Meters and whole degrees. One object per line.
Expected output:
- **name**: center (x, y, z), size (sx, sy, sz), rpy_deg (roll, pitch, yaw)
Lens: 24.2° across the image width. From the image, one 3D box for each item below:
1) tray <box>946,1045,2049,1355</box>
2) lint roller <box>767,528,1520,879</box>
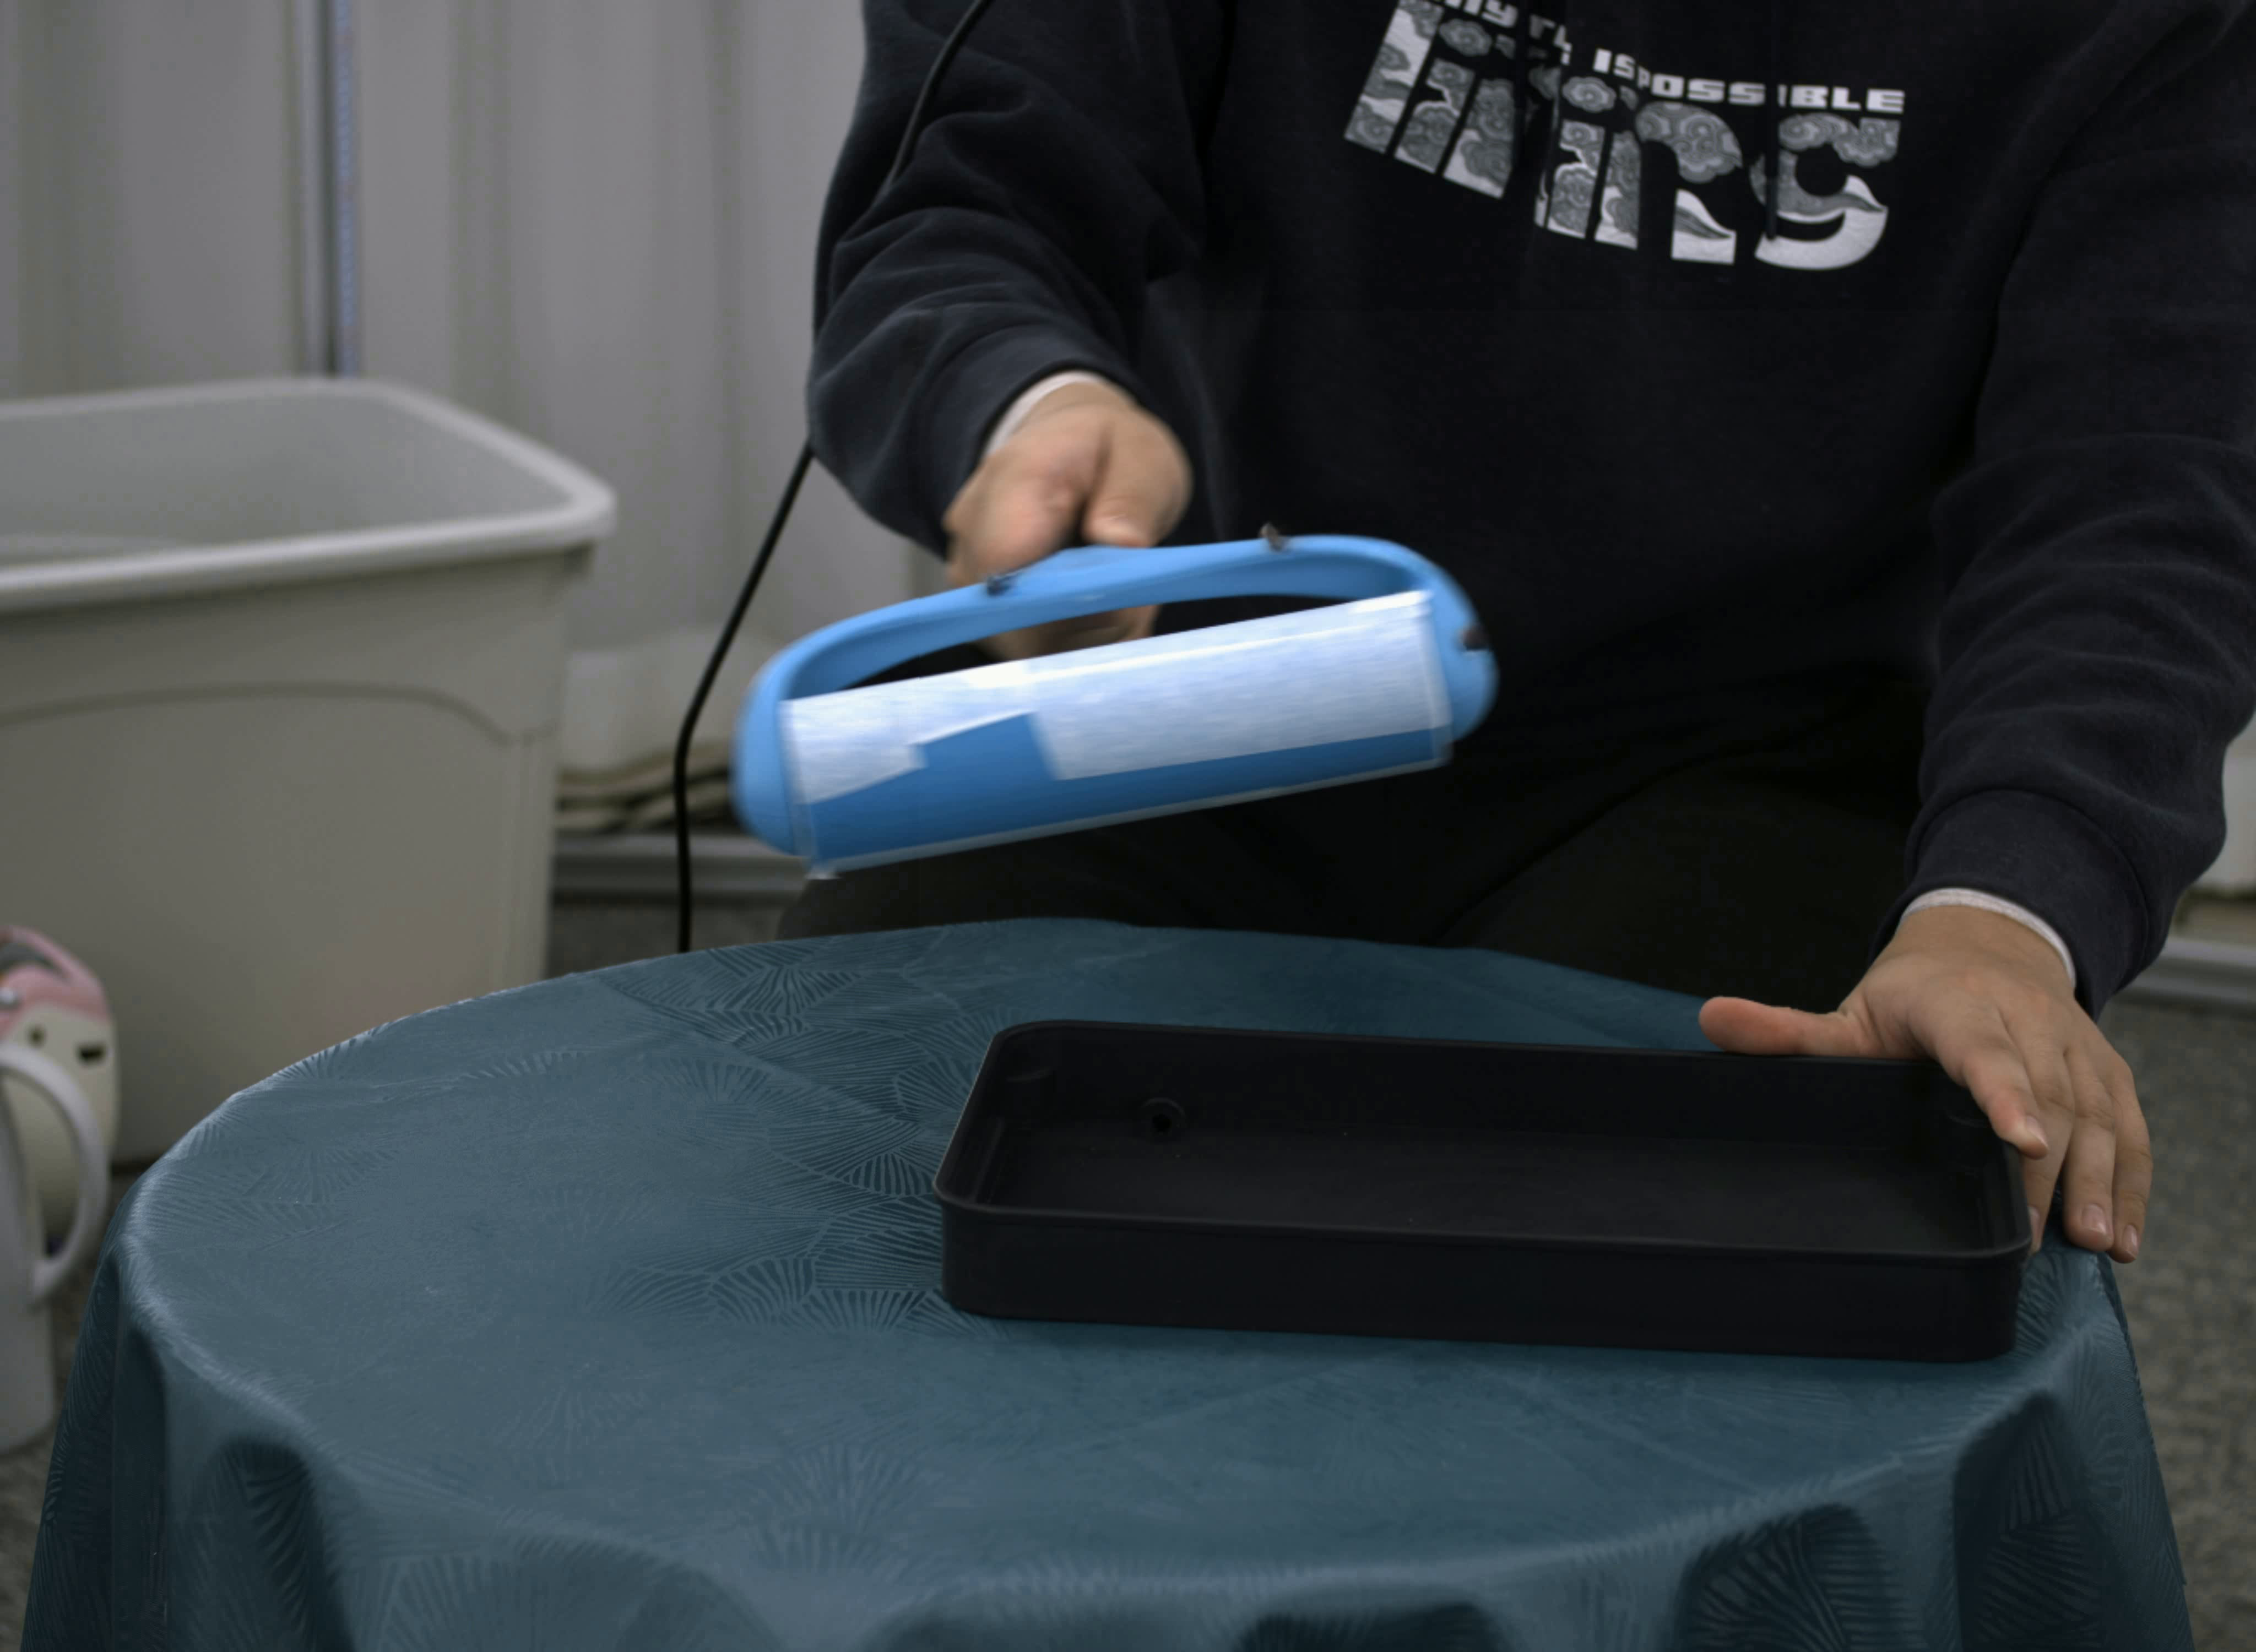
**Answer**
- **tray**: center (0.112, 0.110, 1.585), size (0.316, 0.037, 0.183), rpy_deg (0, 15, 5)
- **lint roller**: center (-0.003, -0.056, 1.627), size (0.228, 0.069, 0.178), rpy_deg (-13, 28, -2)
